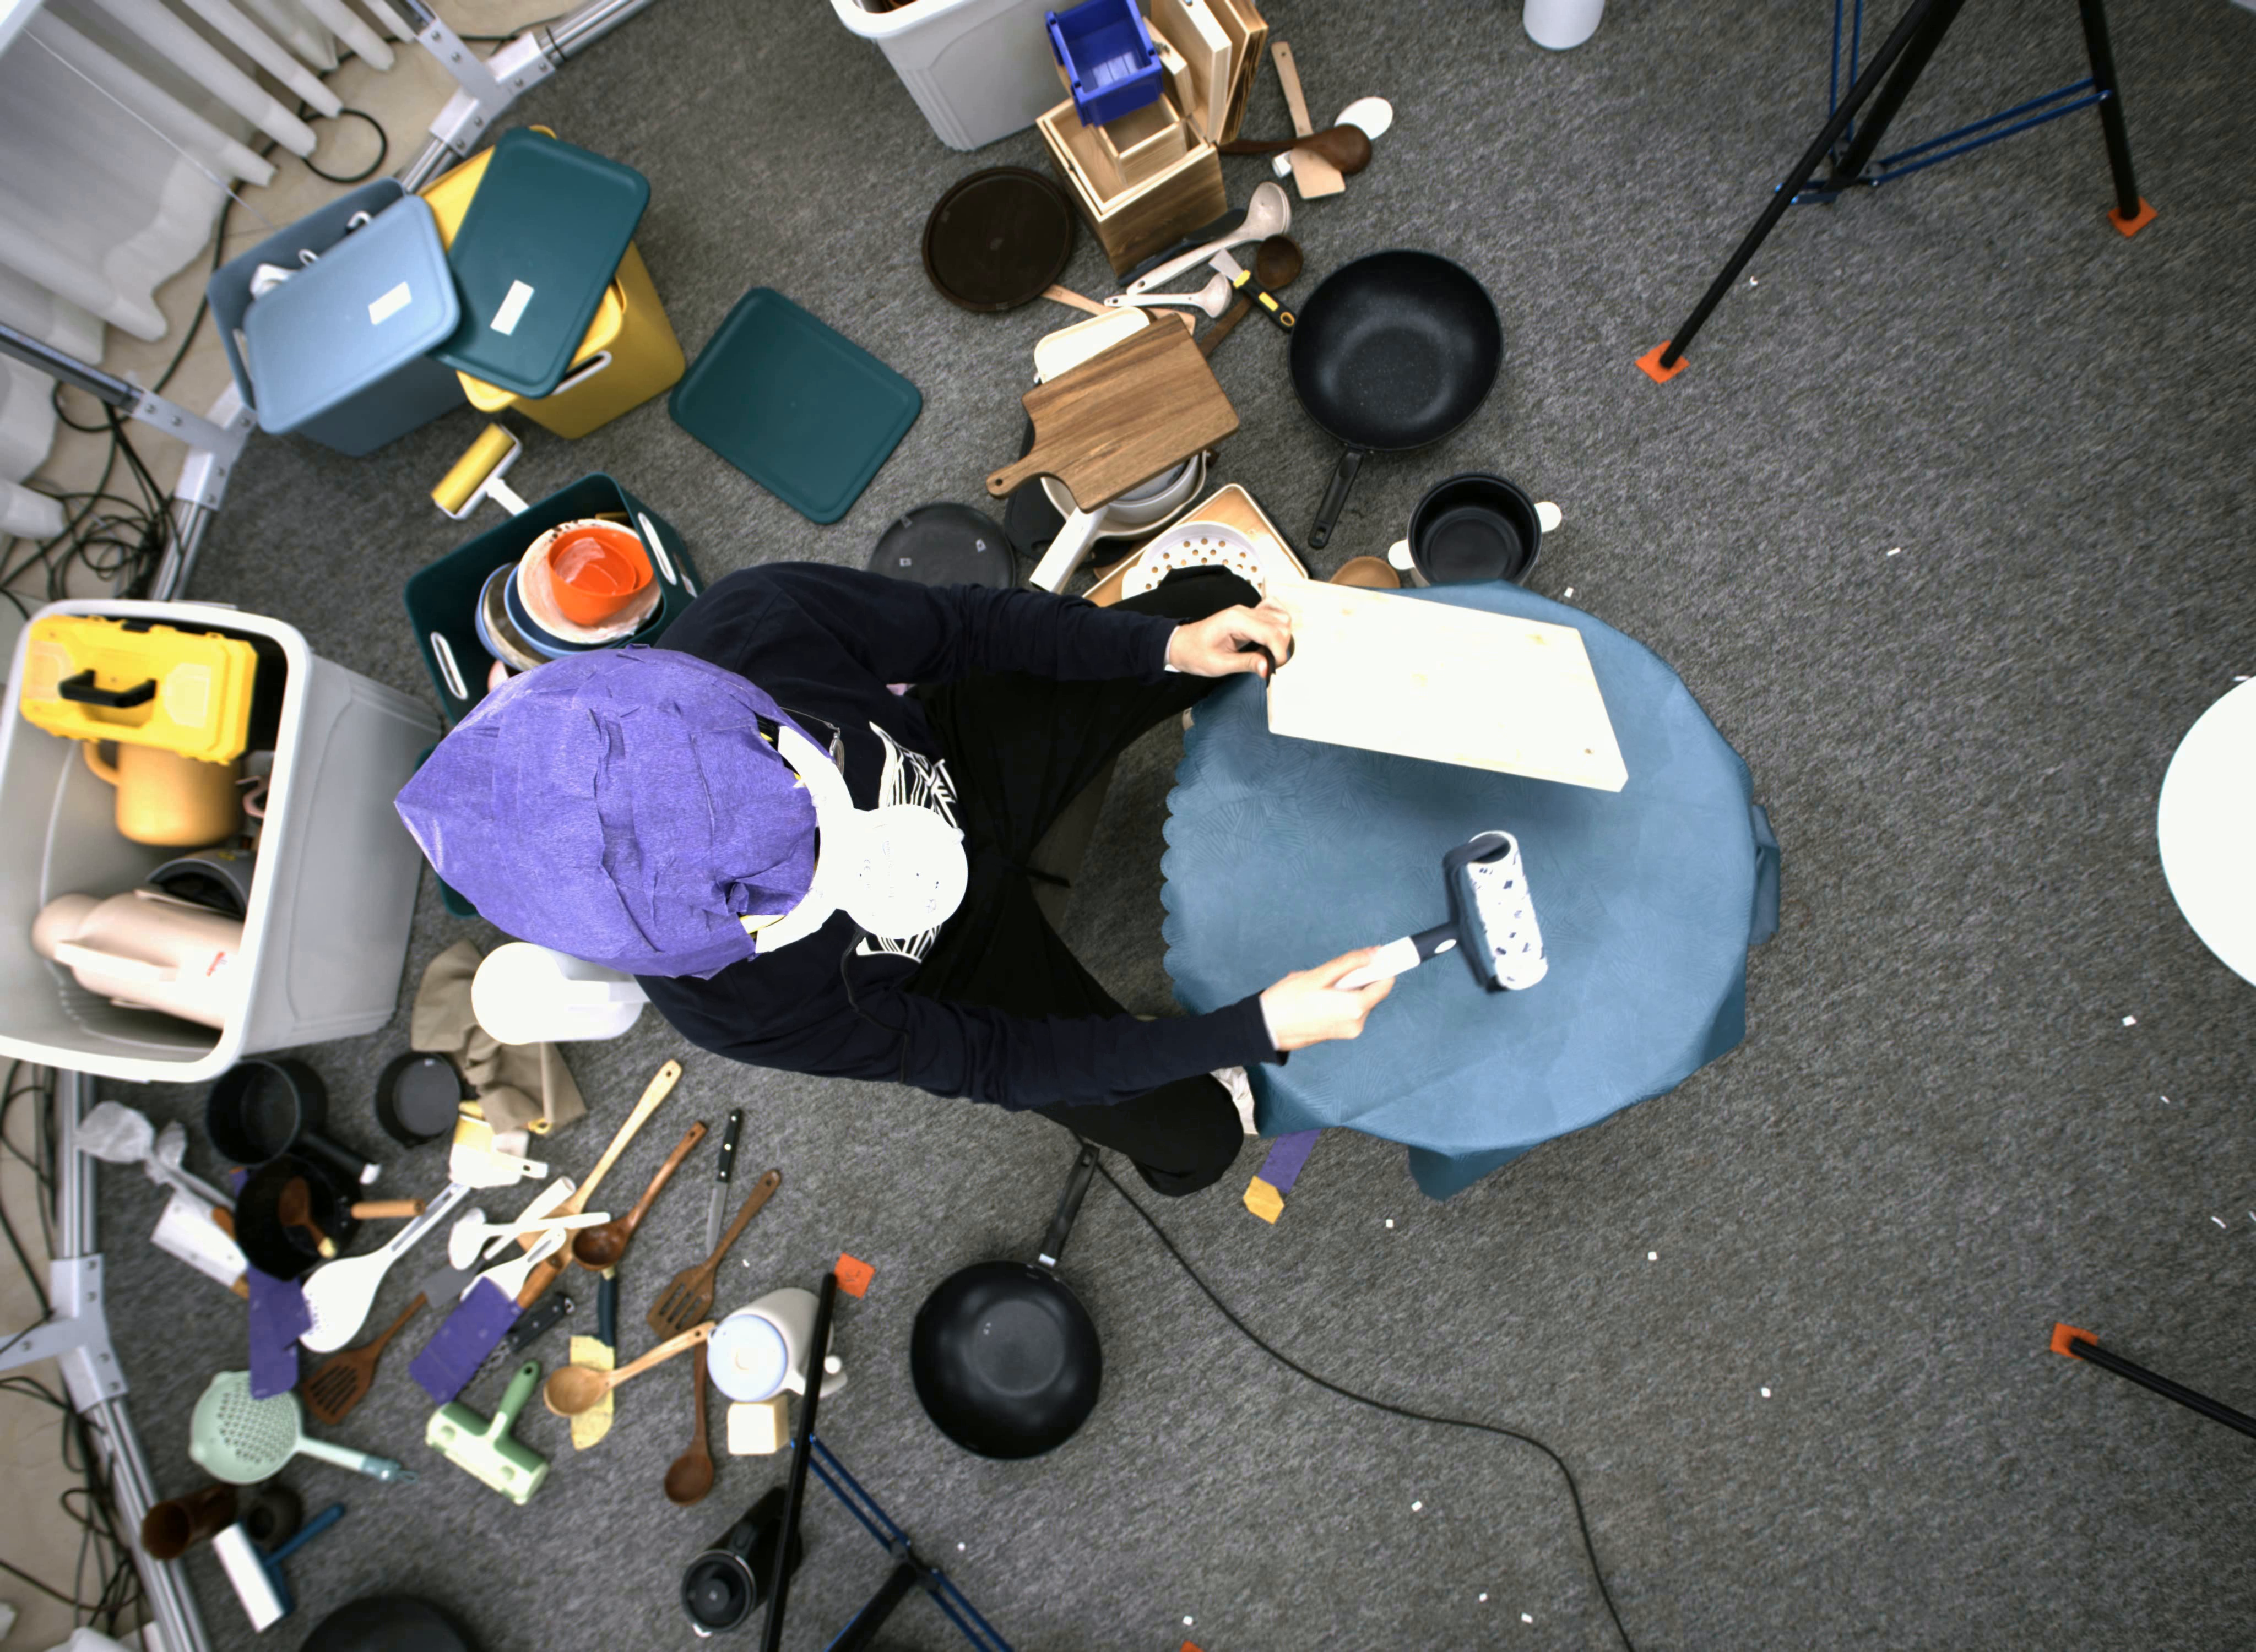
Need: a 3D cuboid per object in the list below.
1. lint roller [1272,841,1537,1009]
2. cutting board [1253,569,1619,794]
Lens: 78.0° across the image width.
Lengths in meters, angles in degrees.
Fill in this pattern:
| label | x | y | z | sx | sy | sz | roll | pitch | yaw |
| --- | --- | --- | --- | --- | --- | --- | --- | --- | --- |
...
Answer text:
| label | x | y | z | sx | sy | sz | roll | pitch | yaw |
| --- | --- | --- | --- | --- | --- | --- | --- | --- | --- |
| lint roller | 0.254 | 0.124 | 1.289 | 0.248 | 0.049 | 0.179 | -23 | 127 | 4 |
| cutting board | 0.294 | -0.147 | 1.335 | 0.349 | 0.024 | 0.244 | 8 | 44 | -6 |
